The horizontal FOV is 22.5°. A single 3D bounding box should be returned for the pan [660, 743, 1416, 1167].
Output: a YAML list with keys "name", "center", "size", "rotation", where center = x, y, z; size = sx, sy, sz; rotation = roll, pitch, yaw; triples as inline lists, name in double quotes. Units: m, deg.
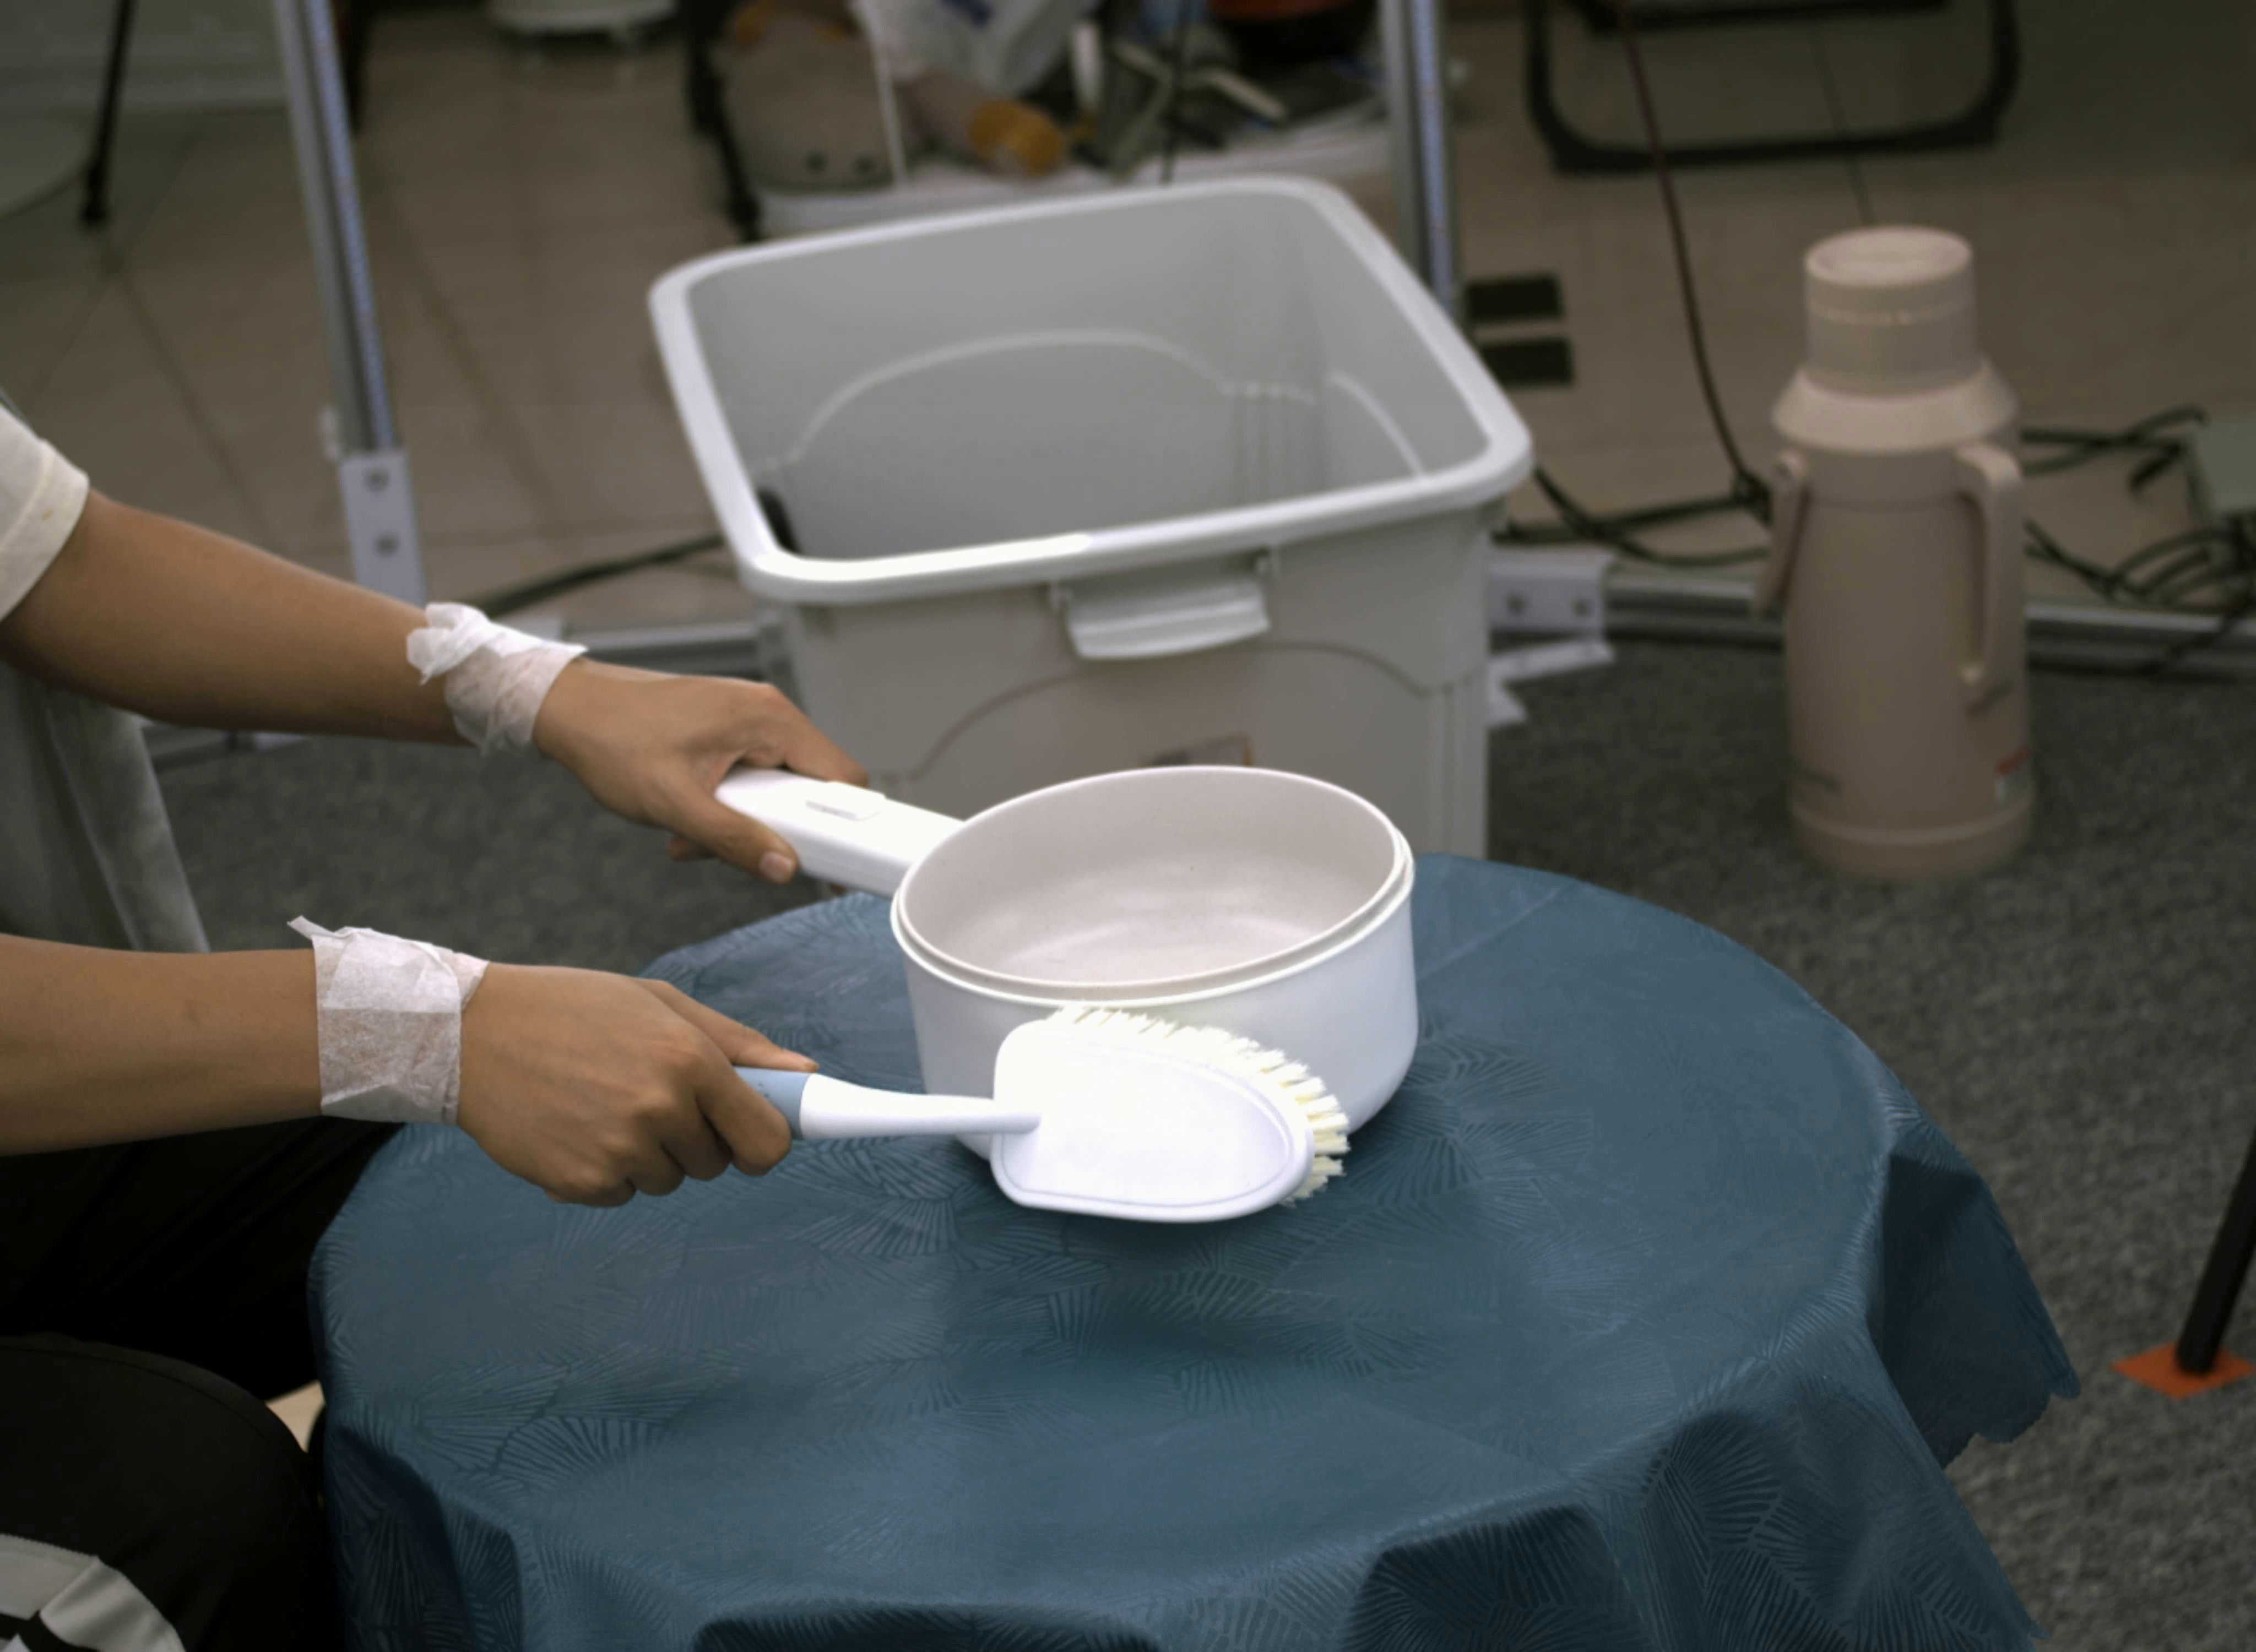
- name: "pan"
  center: [-0.045, 0.048, 2.237]
  size: [0.352, 0.104, 0.199]
  rotation: [15, 33, 38]

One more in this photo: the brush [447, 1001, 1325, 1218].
- name: "brush"
  center: [-0.086, 0.094, 2.069]
  size: [0.324, 0.086, 0.082]
  rotation: [5, 61, 13]
